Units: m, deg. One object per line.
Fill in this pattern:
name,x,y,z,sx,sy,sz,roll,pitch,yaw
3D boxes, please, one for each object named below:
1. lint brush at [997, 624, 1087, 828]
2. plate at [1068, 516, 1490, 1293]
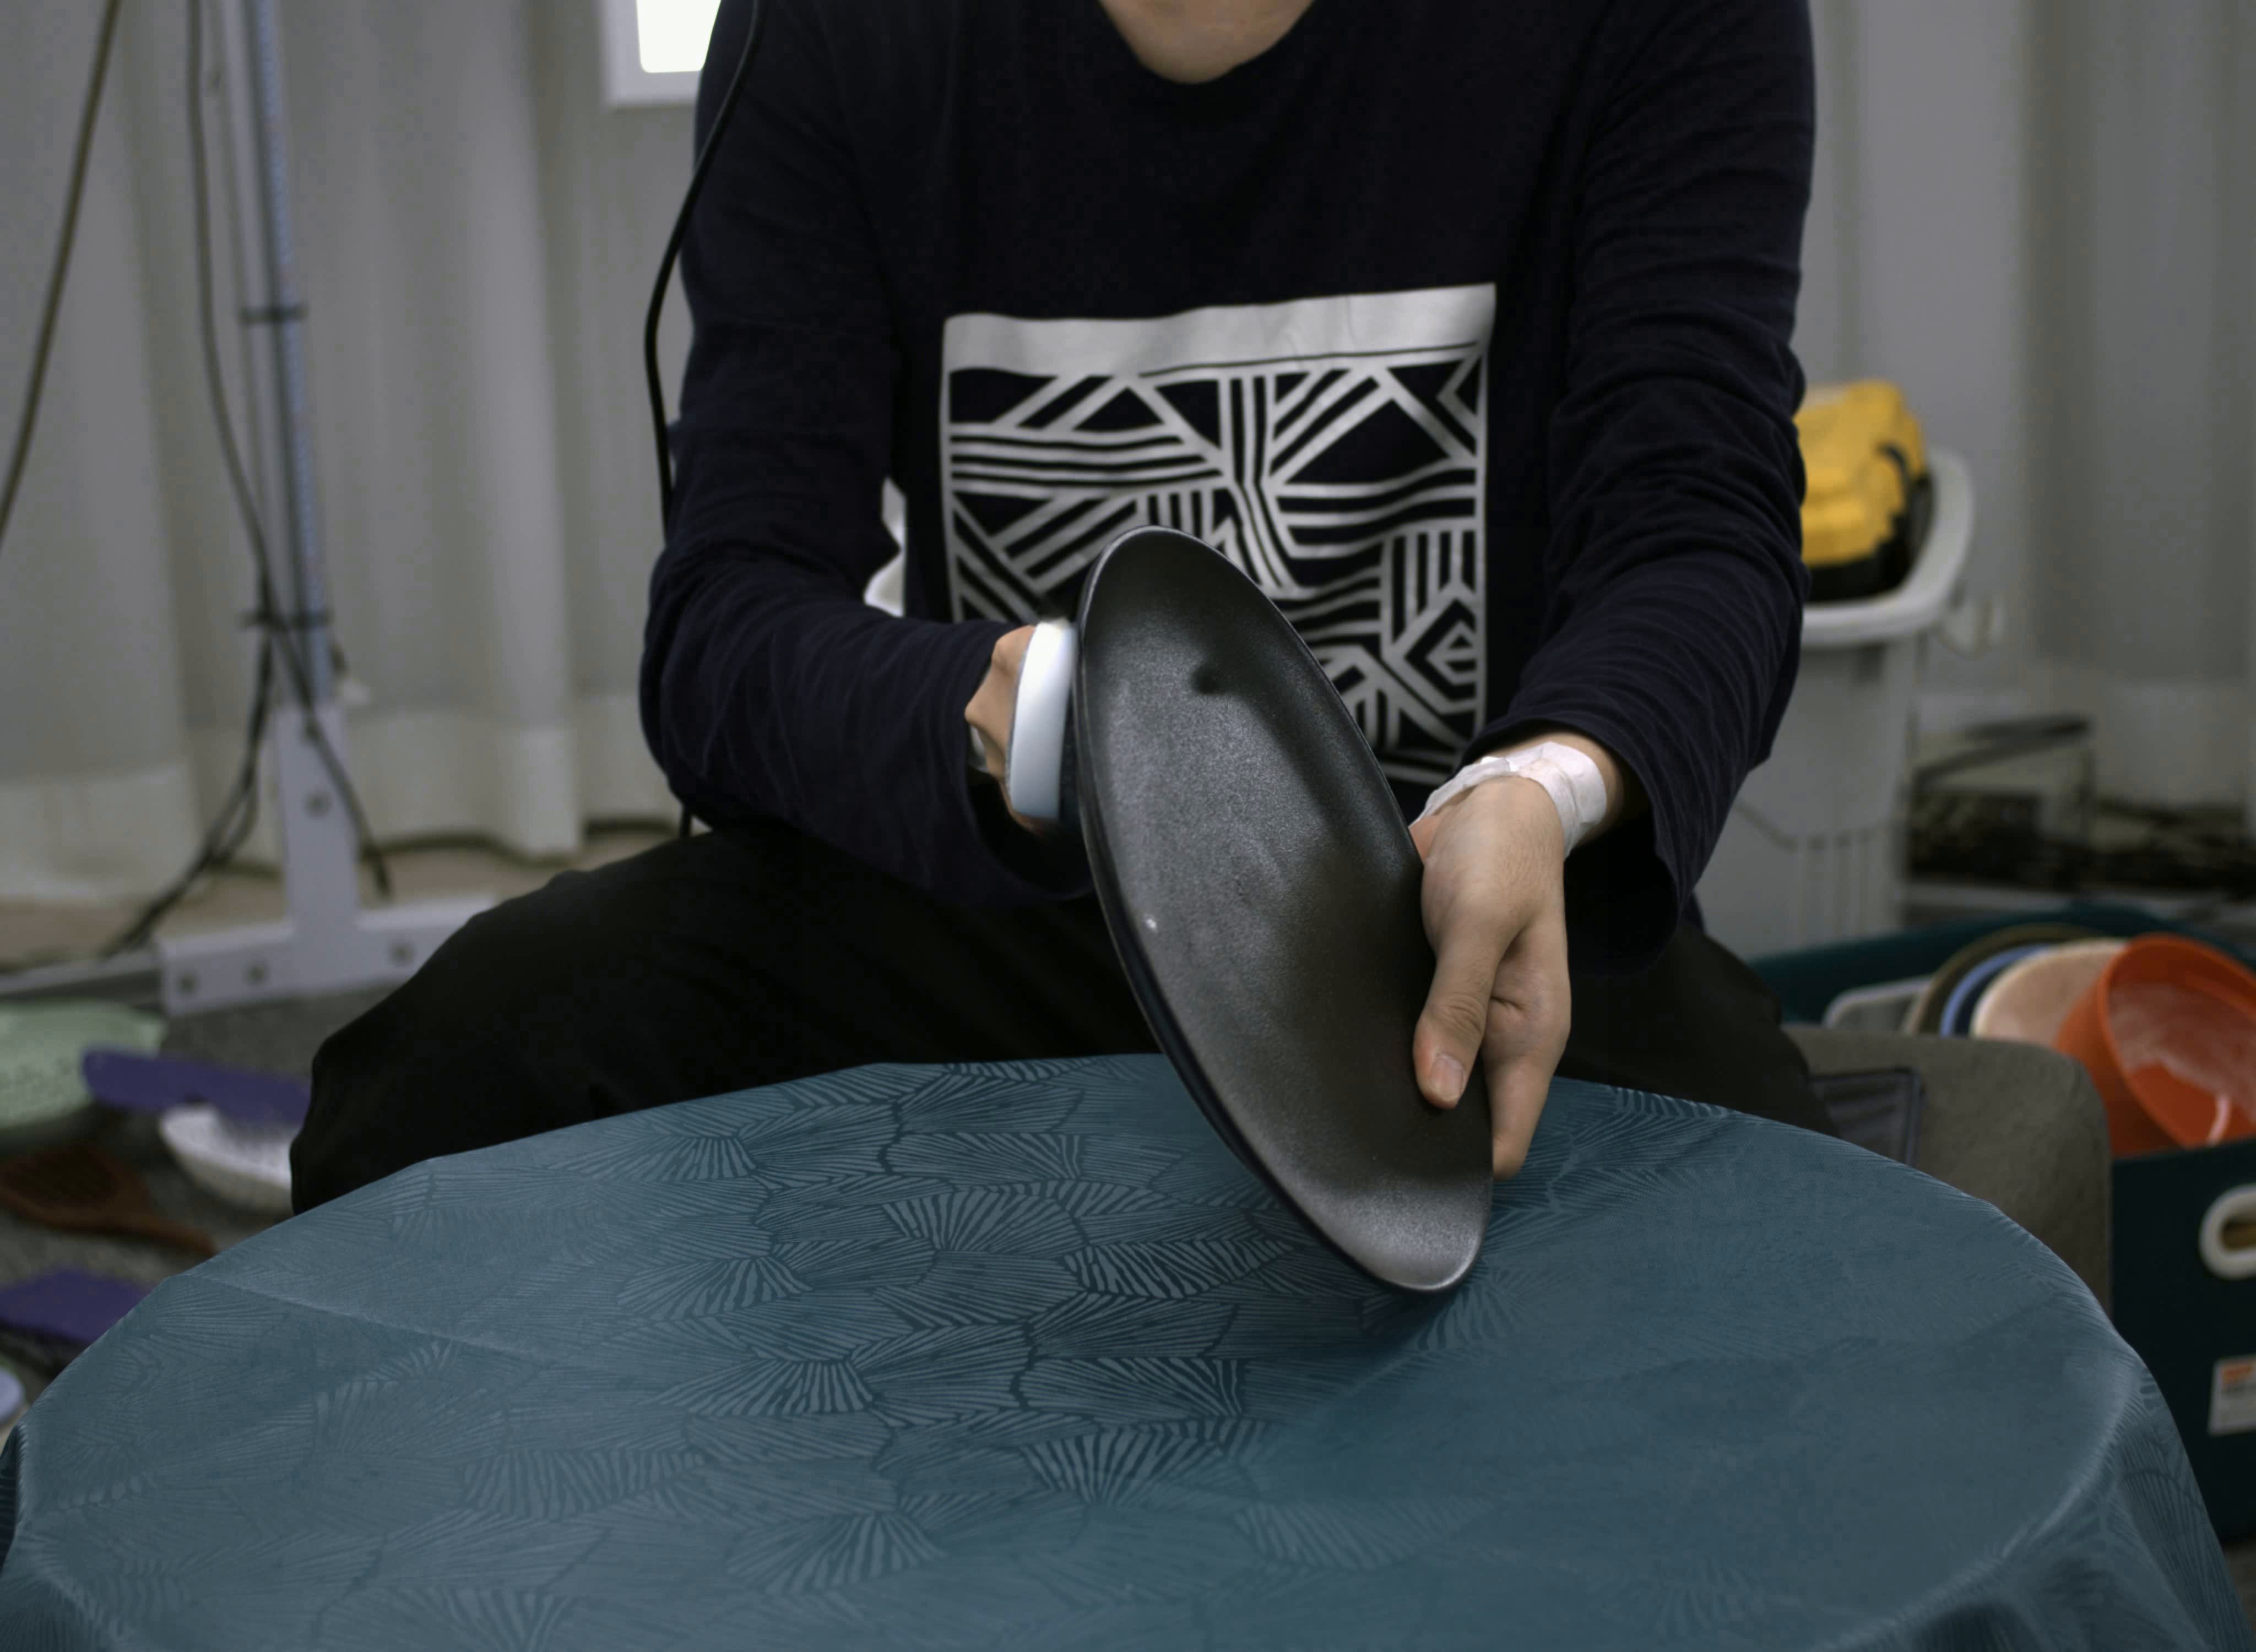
lint brush,-0.015,-0.029,1.711,0.021,0.060,0.308,3,-1,5
plate,0.039,0.025,1.611,0.023,0.244,0.245,-23,6,22
